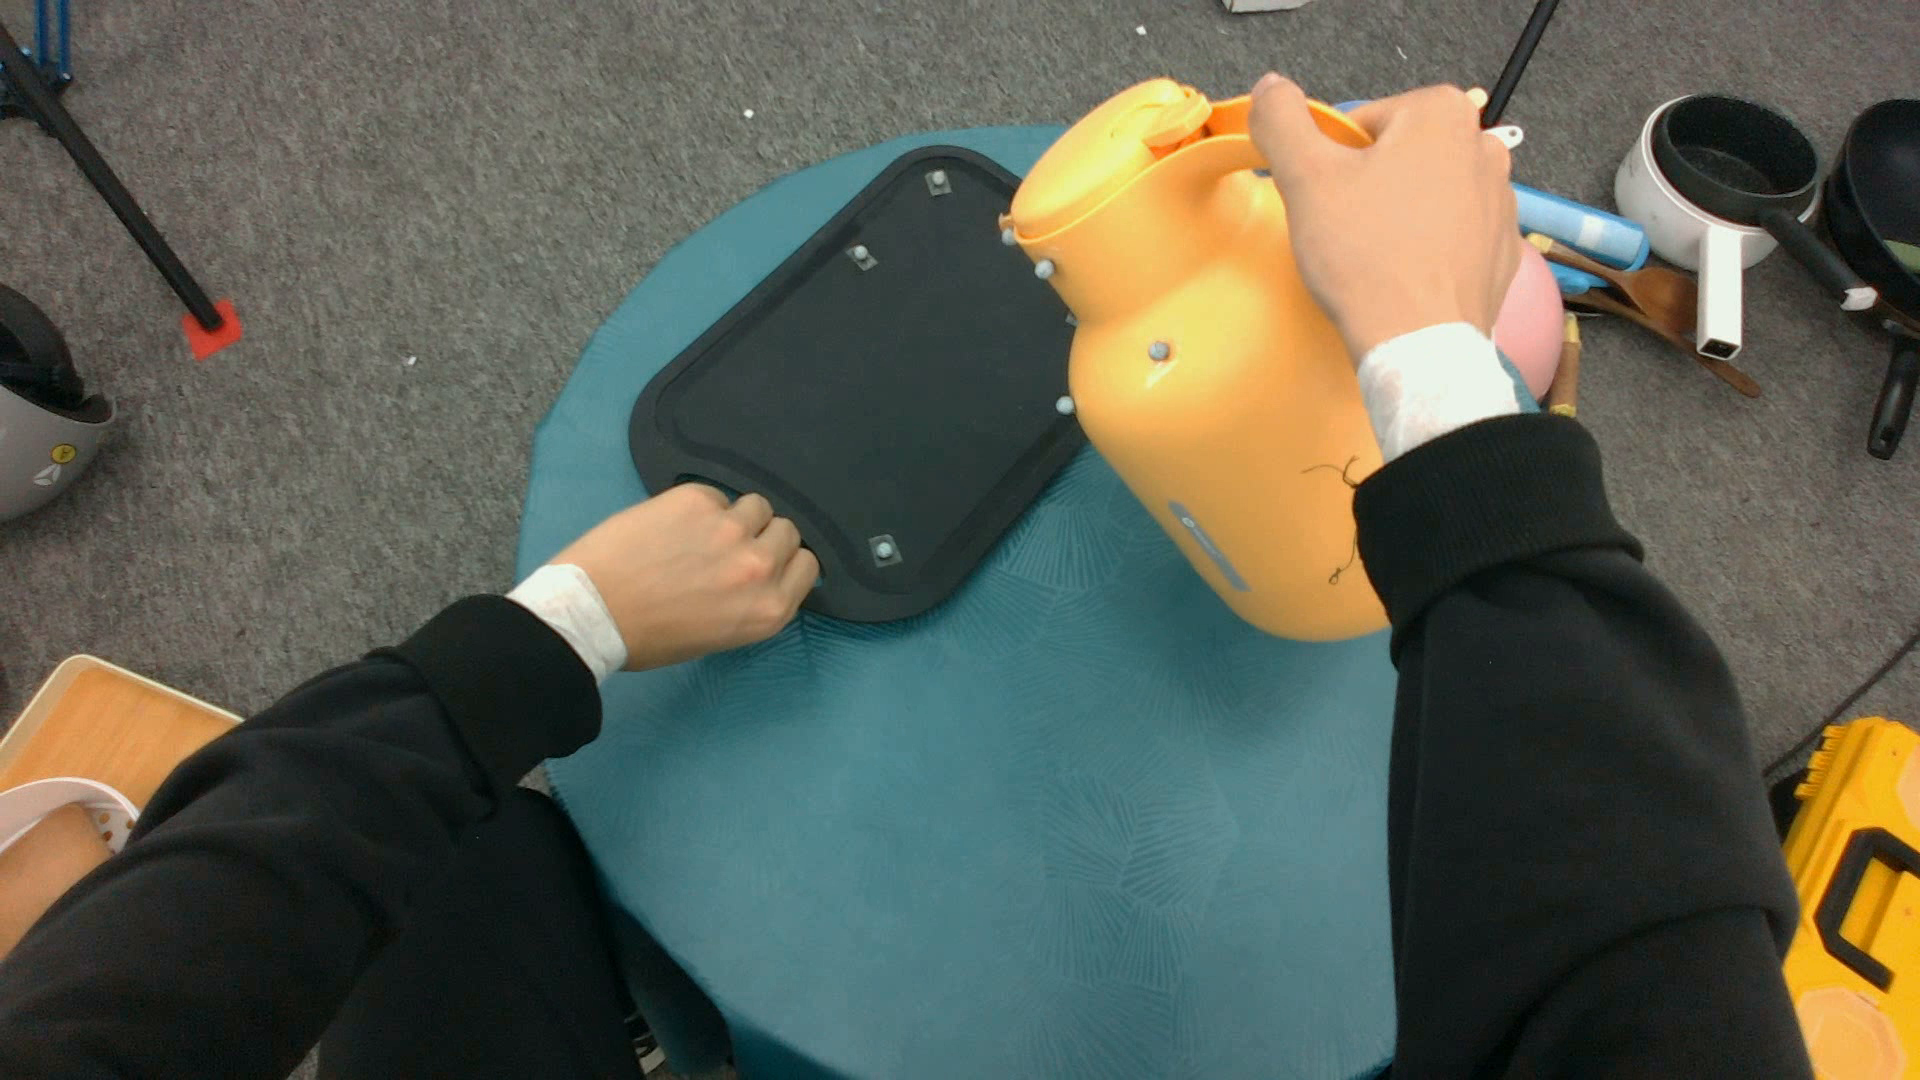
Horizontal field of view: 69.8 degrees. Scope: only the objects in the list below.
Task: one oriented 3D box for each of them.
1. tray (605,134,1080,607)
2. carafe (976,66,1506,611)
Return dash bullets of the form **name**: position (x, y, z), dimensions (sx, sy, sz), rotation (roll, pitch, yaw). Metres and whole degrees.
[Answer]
- **tray**: position (-0.040, -0.106, 0.784), dimensions (0.211, 0.010, 0.327), rotation (35, 62, 12)
- **carafe**: position (0.134, -0.095, 0.624), dimensions (0.260, 0.202, 0.164), rotation (42, 70, -23)
